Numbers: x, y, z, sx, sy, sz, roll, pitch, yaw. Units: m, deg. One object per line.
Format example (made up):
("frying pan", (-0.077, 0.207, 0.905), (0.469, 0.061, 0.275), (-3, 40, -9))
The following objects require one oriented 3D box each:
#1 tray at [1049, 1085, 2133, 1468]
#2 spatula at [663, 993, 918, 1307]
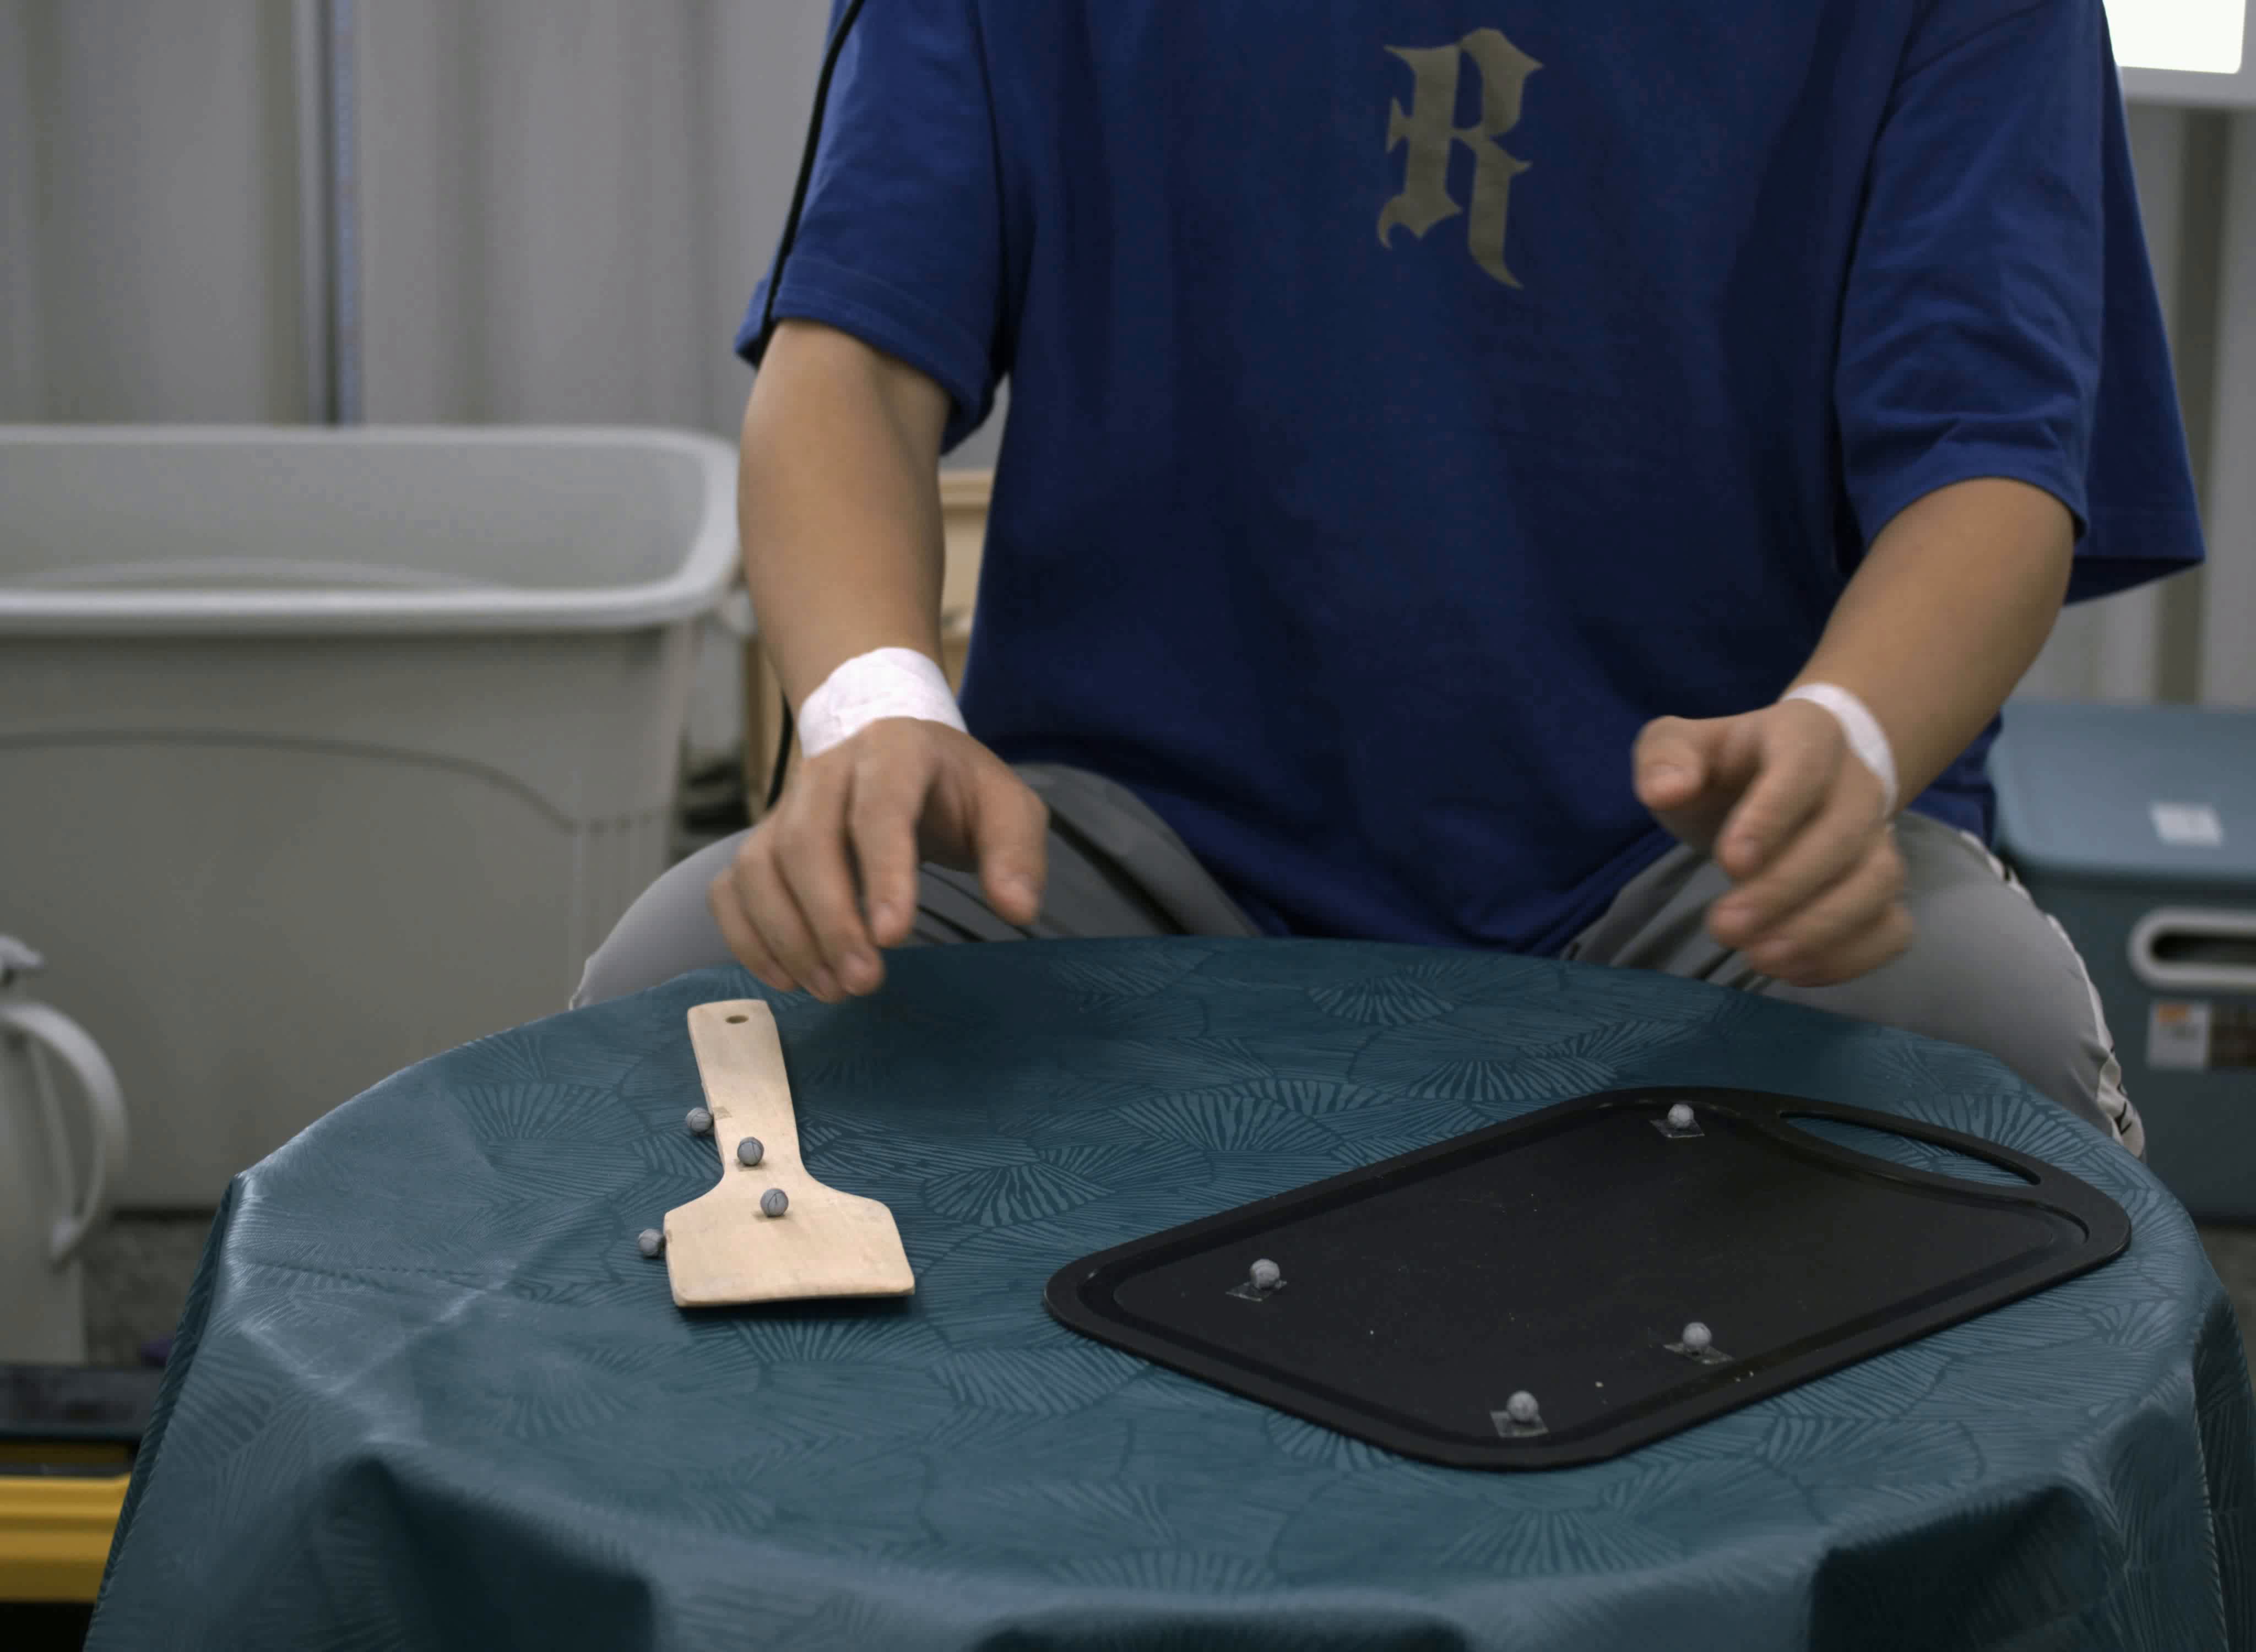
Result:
("tray", (0.146, 0.125, 1.569), (0.327, 0.010, 0.208), (-13, 21, -42))
("spatula", (-0.115, 0.099, 1.649), (0.072, 0.011, 0.290), (-3, 16, -8))
